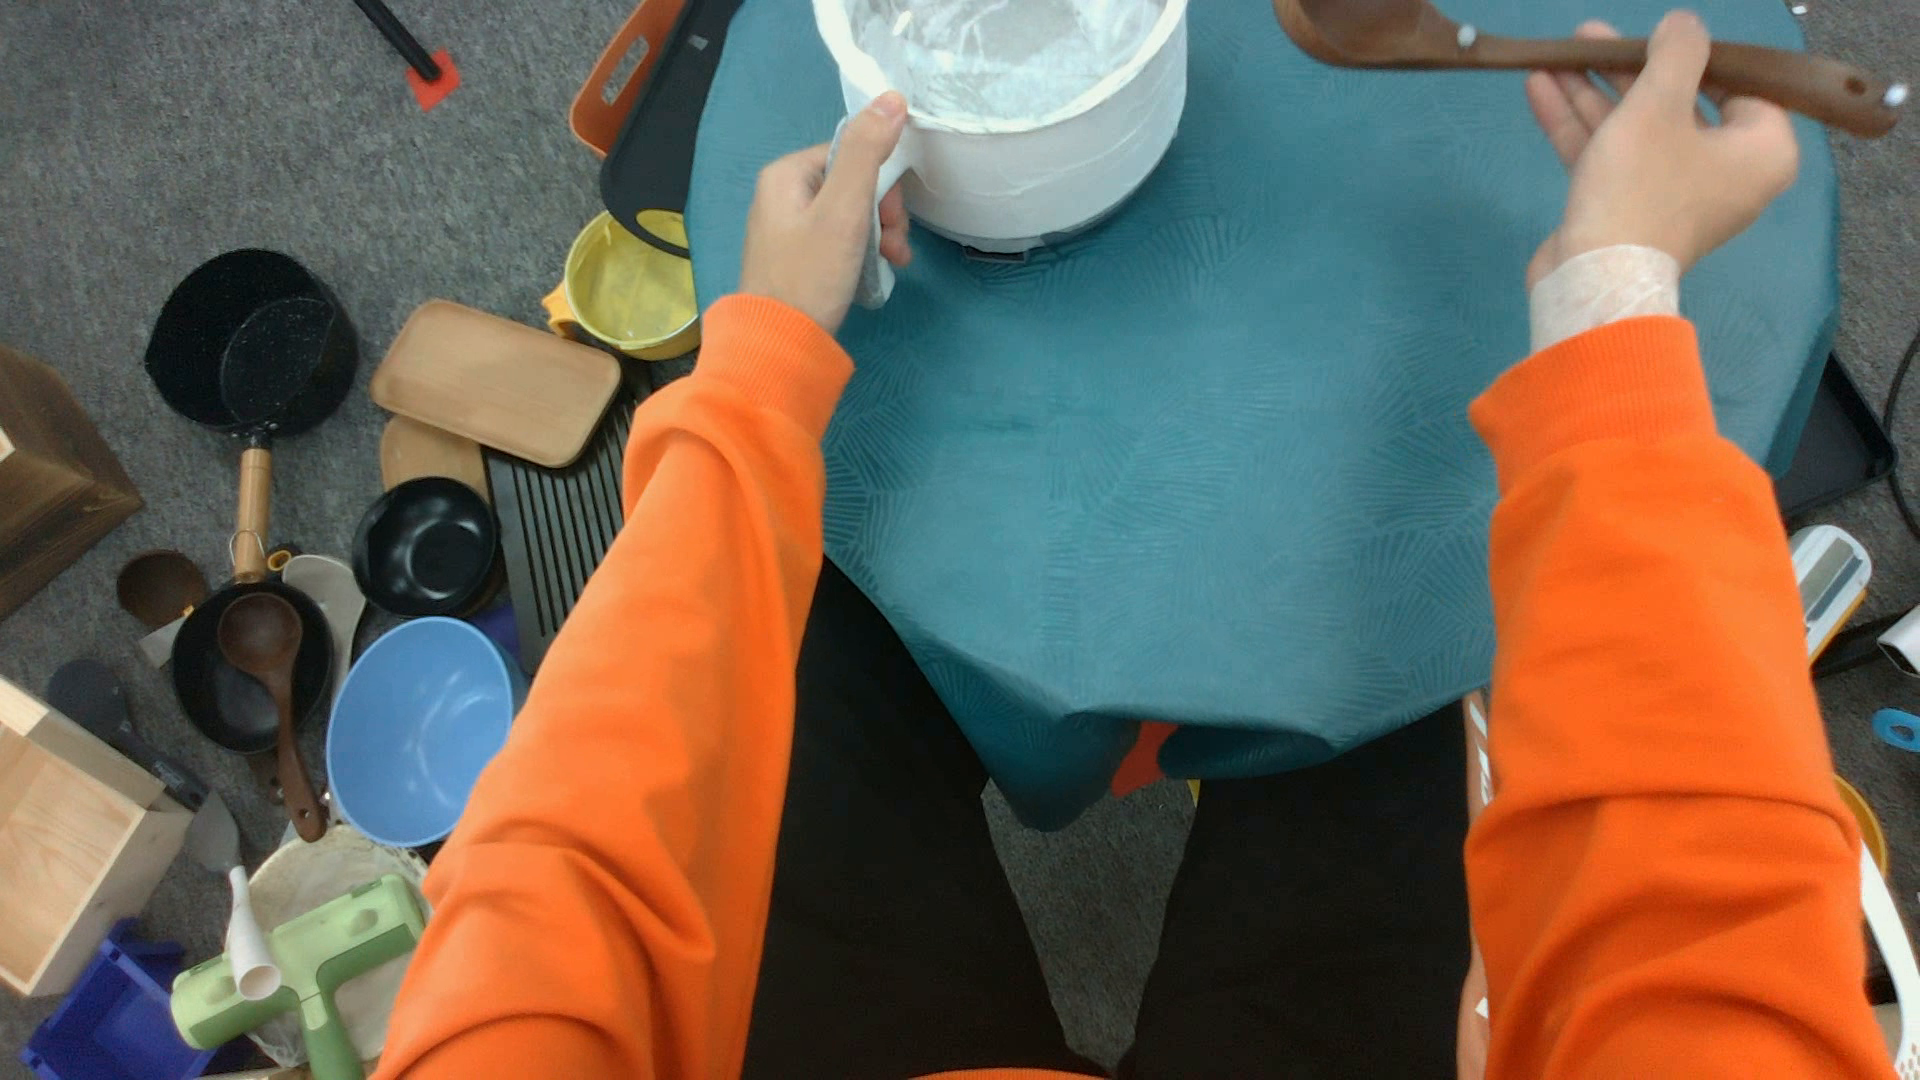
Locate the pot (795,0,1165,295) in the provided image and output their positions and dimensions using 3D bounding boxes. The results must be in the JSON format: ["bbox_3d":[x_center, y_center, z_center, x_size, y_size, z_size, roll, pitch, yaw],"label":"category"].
[{"bbox_3d":[-0.001,-0.233,0.689,0.179,0.136,0.234,34,80,14],"label":"pot"}]

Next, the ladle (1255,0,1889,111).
[{"bbox_3d":[0.247,-0.225,0.572,0.260,0.065,0.077,17,74,21],"label":"ladle"}]
